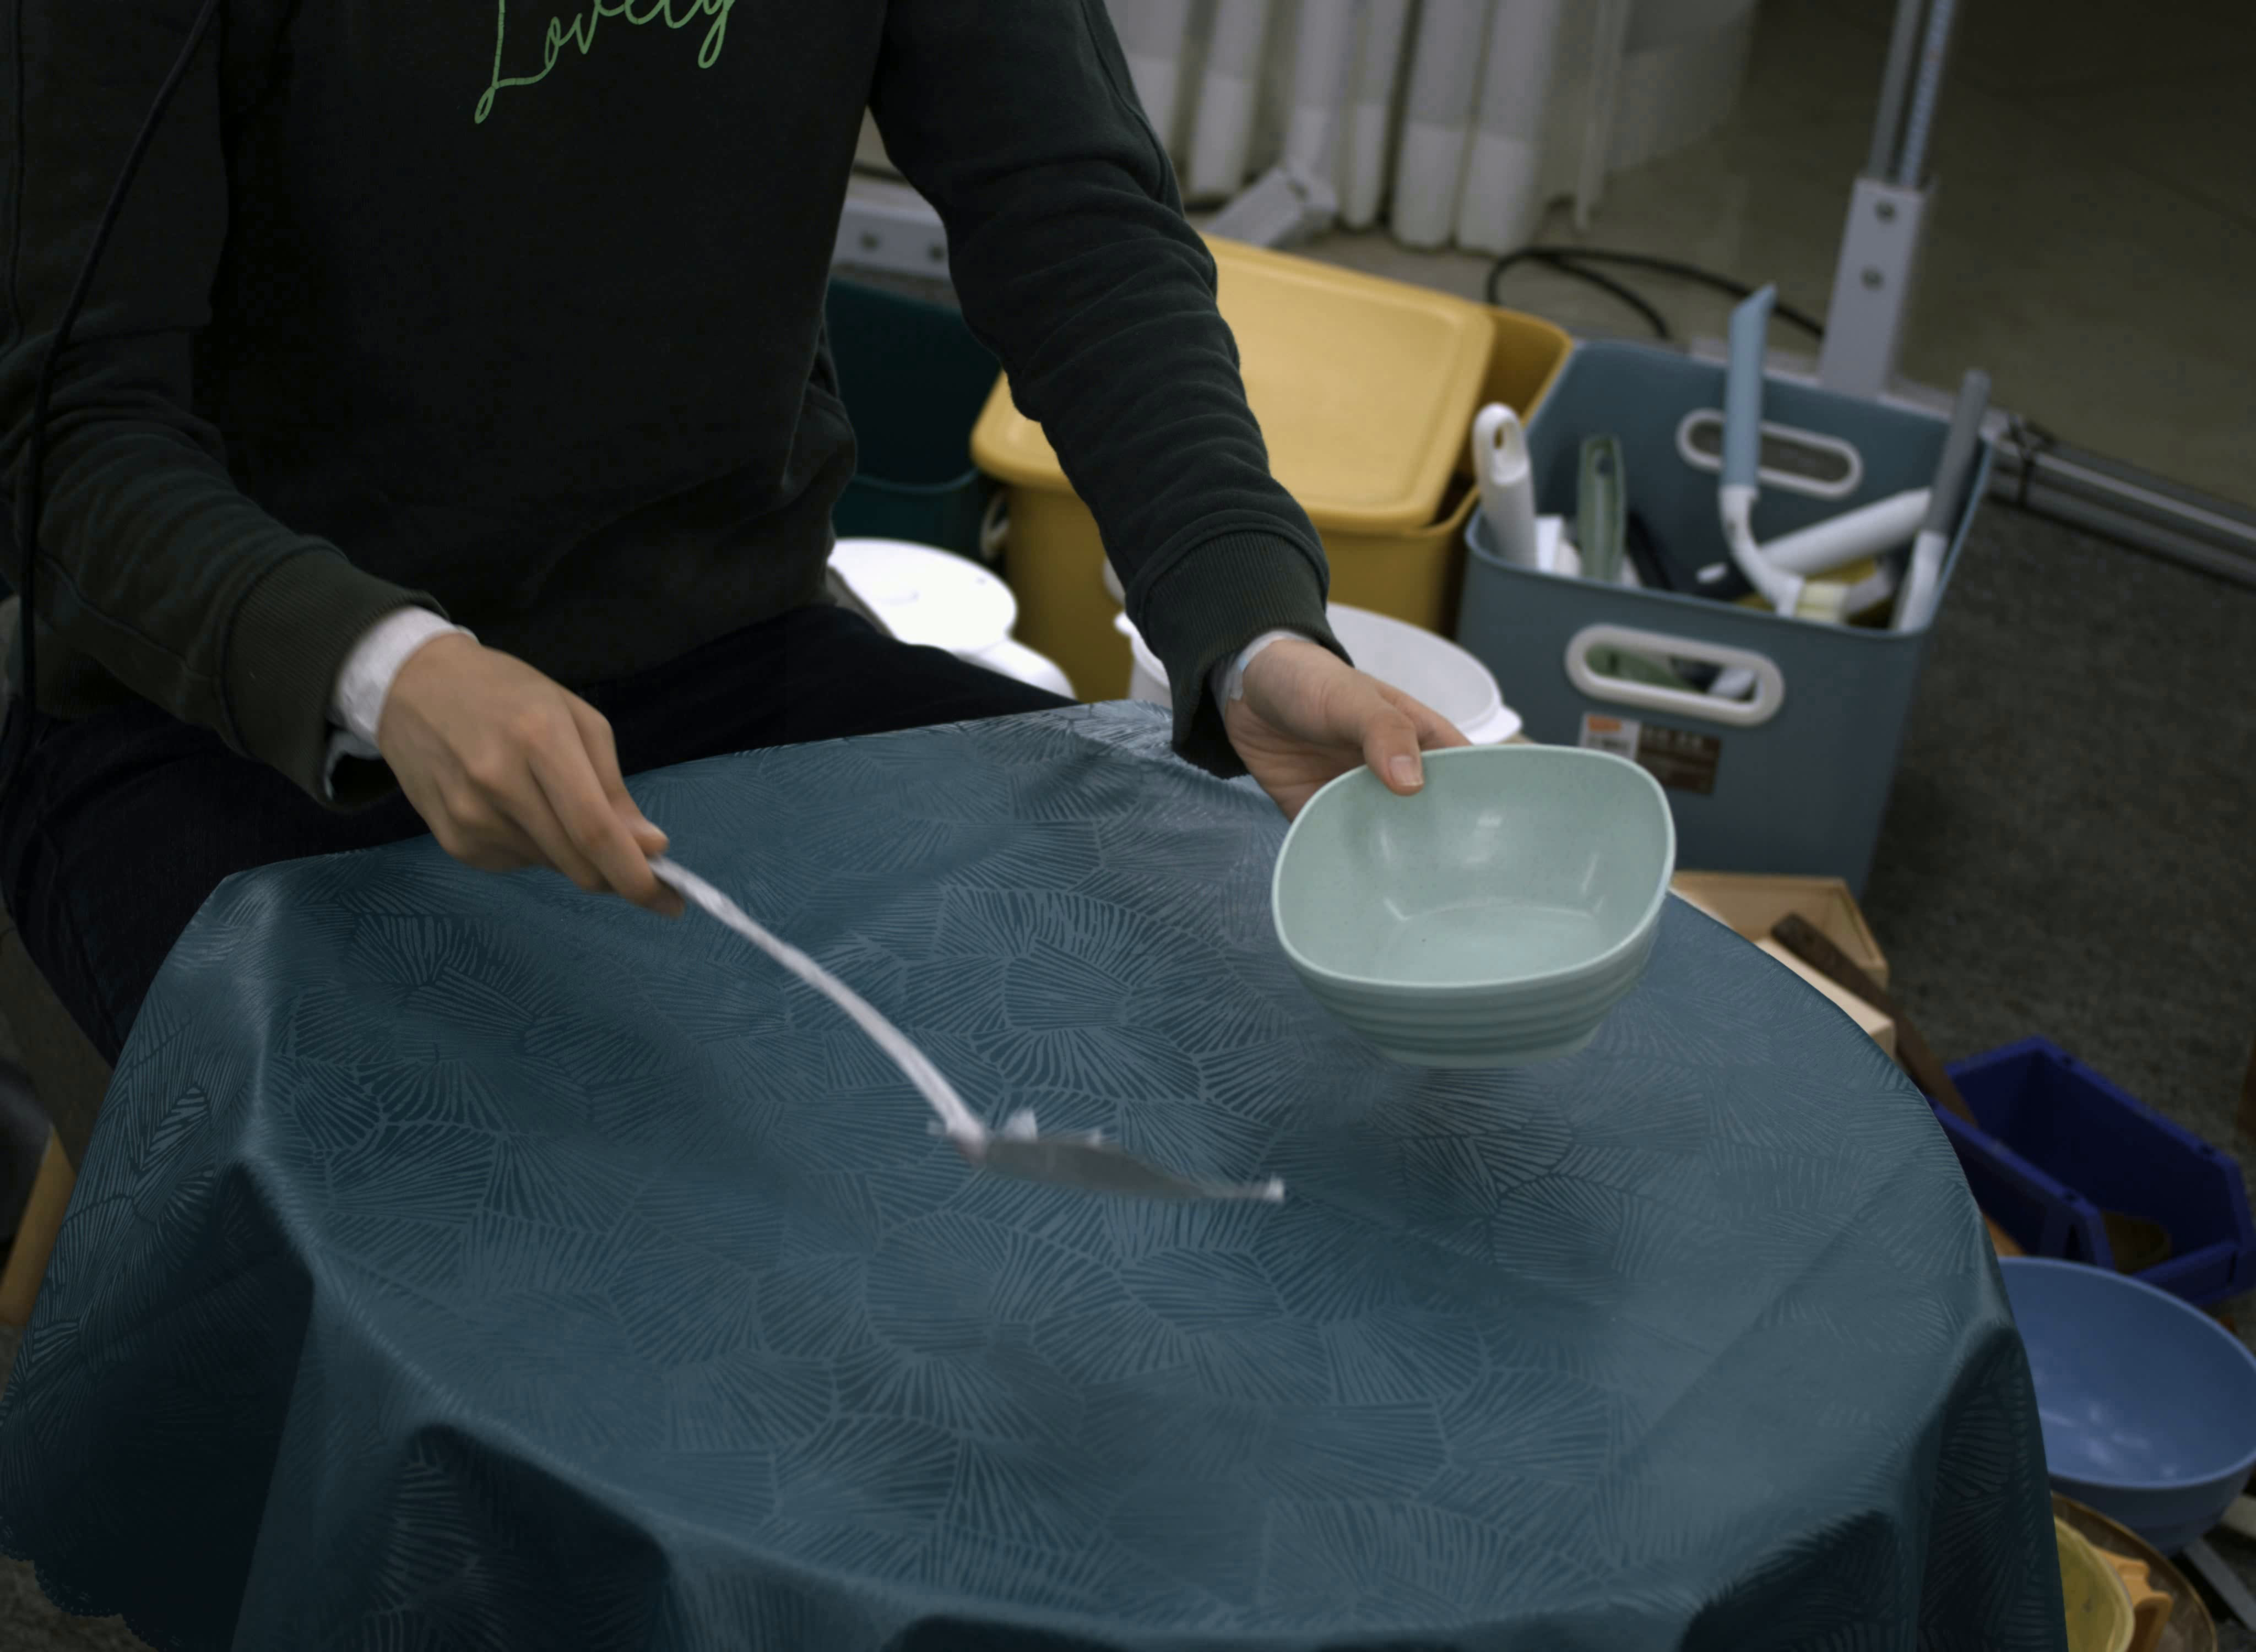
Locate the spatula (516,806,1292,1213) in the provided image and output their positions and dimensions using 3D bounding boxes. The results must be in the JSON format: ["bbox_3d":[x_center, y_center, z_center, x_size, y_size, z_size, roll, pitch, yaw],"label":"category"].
[{"bbox_3d":[-0.093,0.052,1.724,0.098,0.045,0.368,16,13,-47],"label":"spatula"}]

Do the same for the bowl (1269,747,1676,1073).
[{"bbox_3d":[0.120,0.037,1.832,0.151,0.058,0.152,-5,36,4],"label":"bowl"}]
